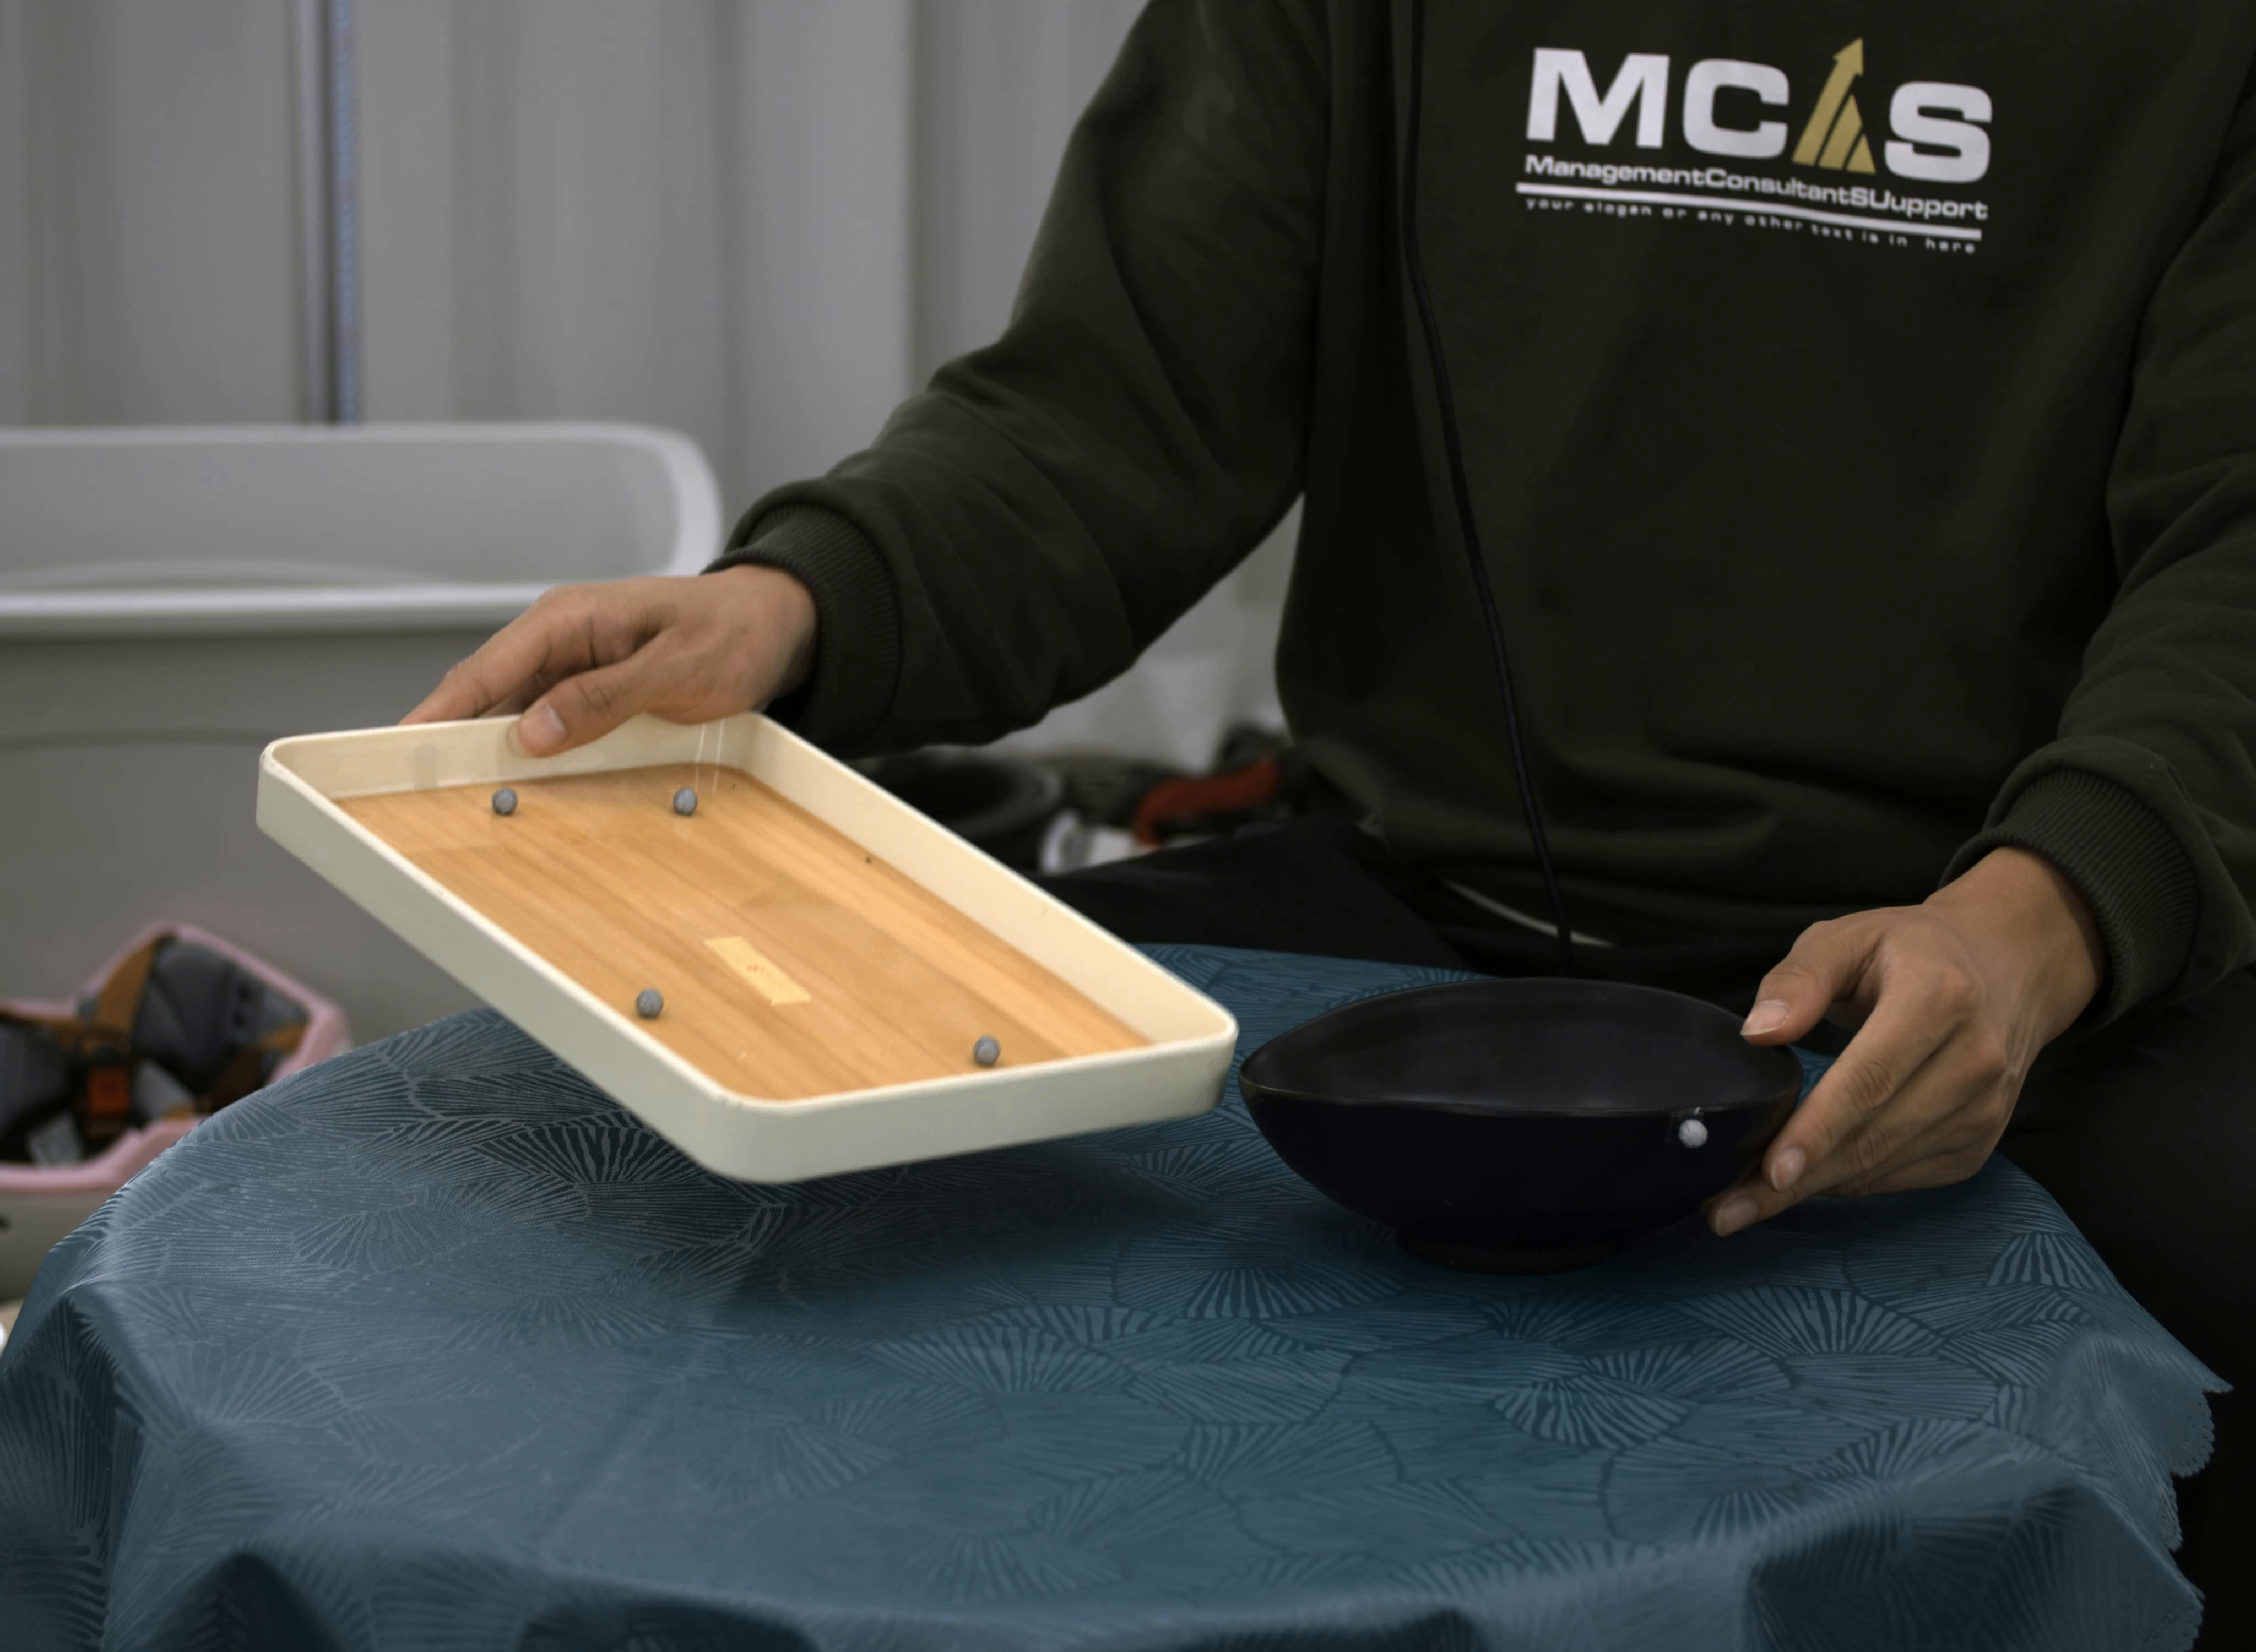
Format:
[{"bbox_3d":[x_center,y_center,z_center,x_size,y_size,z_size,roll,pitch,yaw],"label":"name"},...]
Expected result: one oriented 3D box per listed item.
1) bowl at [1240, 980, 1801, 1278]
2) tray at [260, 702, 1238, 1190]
[{"bbox_3d":[0.117,0.095,1.584,0.169,0.067,0.137,2,14,10],"label":"bowl"},{"bbox_3d":[-0.124,0.032,1.651,0.193,0.027,0.296,-7,26,-38],"label":"tray"}]
